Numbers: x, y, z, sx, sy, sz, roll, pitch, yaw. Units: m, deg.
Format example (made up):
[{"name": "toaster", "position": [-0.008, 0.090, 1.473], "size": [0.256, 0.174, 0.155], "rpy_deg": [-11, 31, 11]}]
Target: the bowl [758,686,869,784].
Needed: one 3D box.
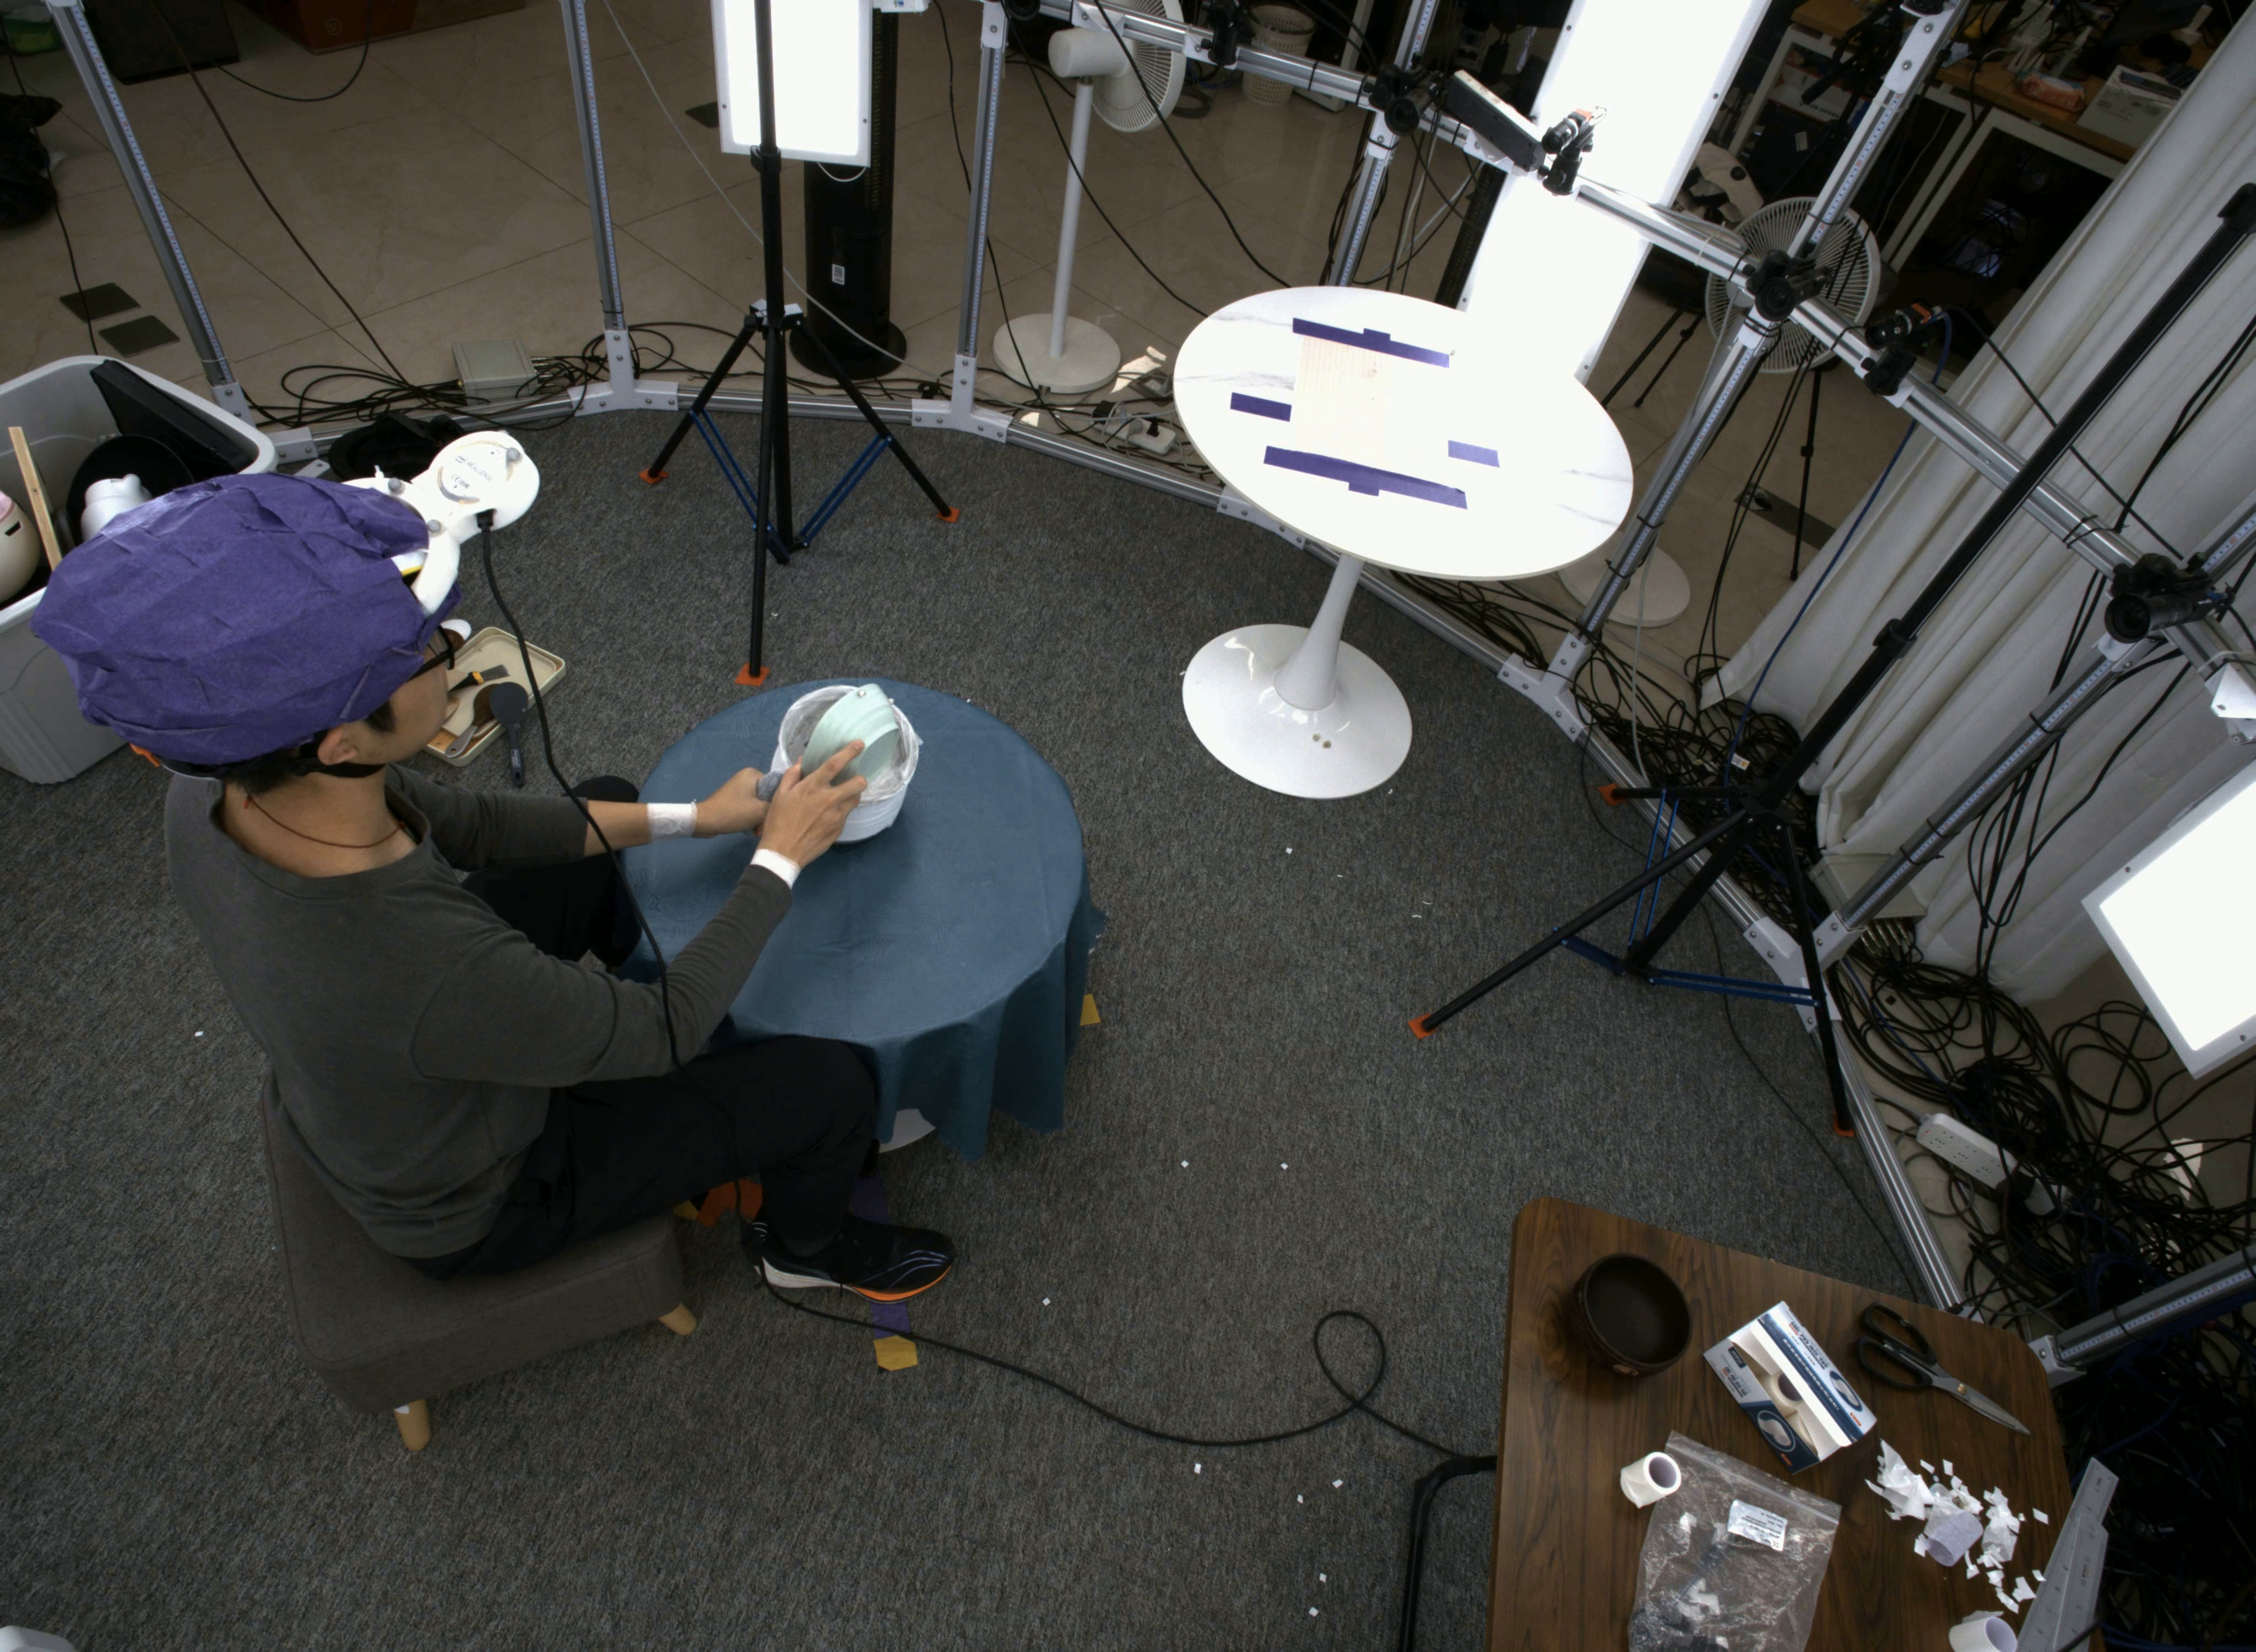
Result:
[{"name": "bowl", "position": [-0.370, -0.102, 1.574], "size": [0.152, 0.152, 0.058], "rpy_deg": [-30, 79, -31]}]

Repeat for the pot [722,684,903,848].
[{"name": "pot", "position": [-0.413, -0.062, 1.678], "size": [0.235, 0.137, 0.177], "rpy_deg": [-31, 77, -33]}]
